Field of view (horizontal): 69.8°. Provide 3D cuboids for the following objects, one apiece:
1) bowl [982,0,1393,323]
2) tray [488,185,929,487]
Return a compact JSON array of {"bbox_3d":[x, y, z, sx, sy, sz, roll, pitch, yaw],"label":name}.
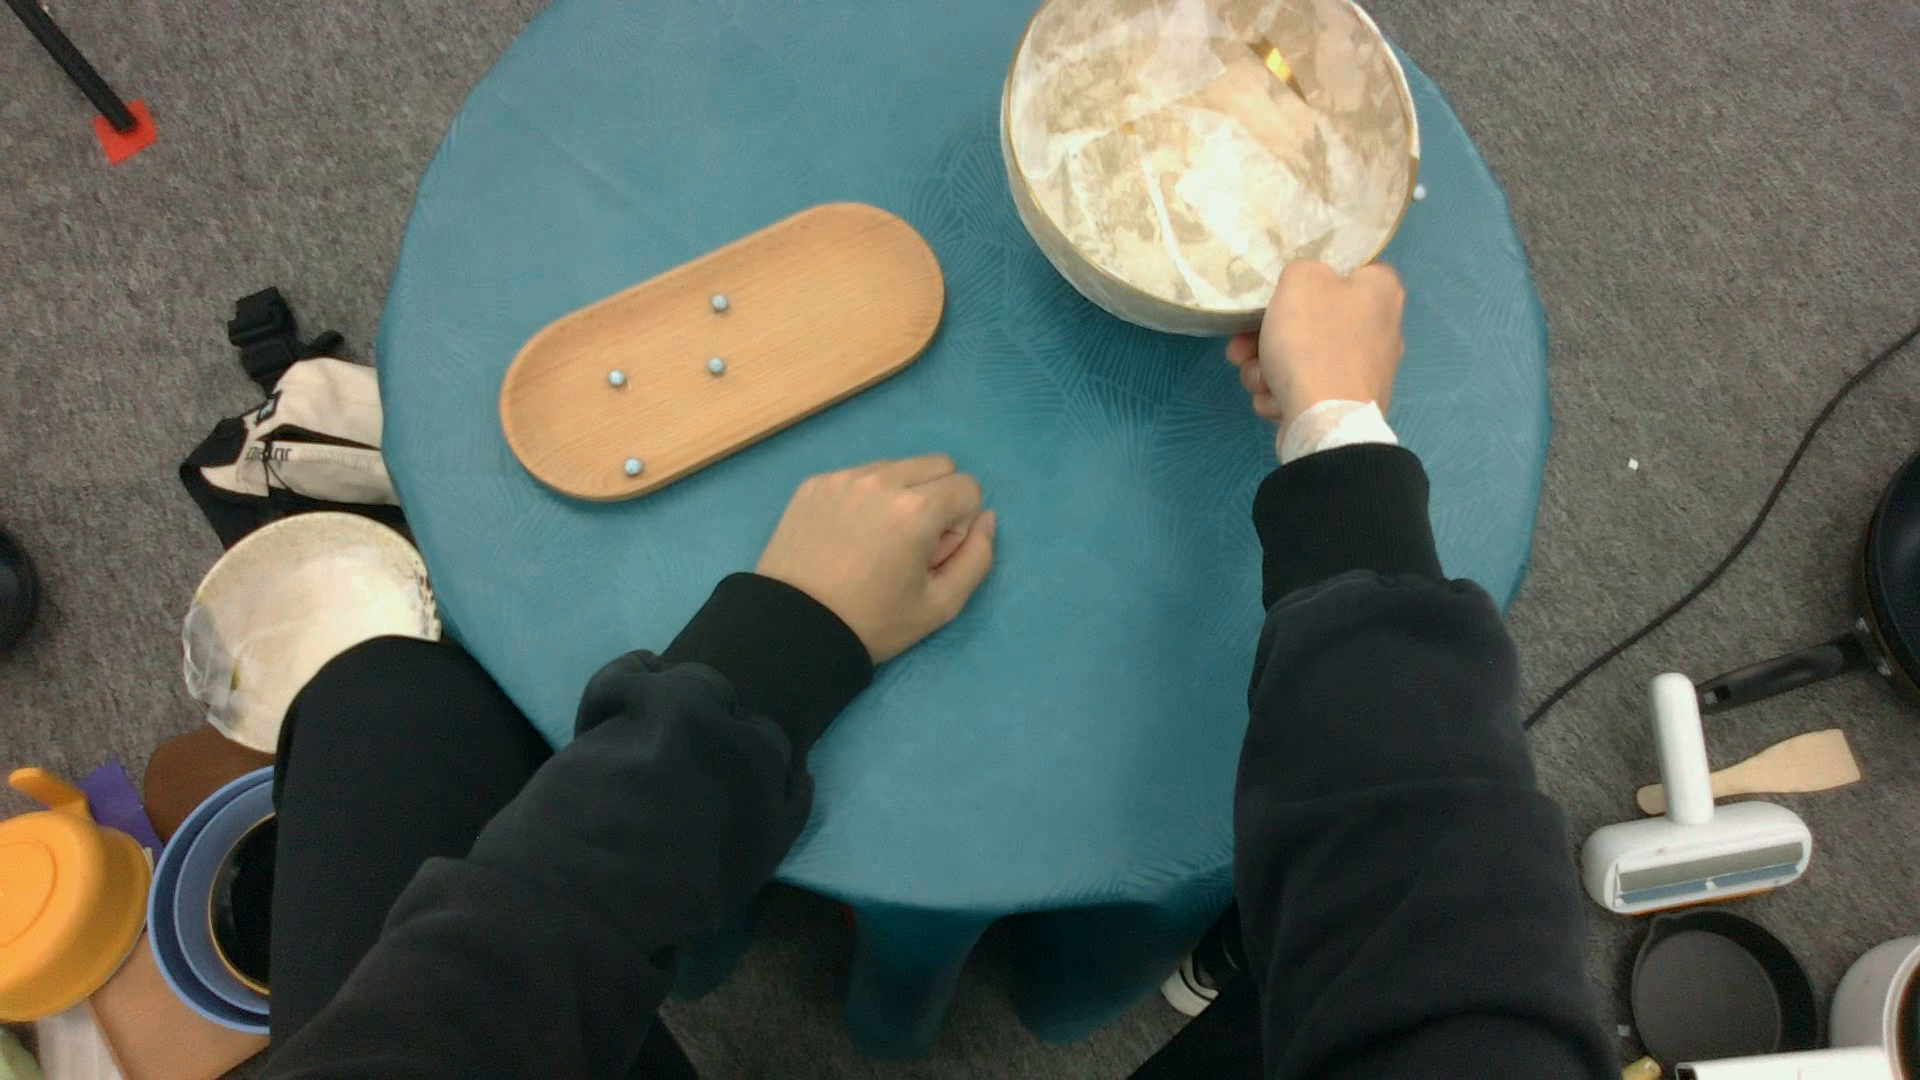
[{"bbox_3d":[0.102,-0.192,0.698,0.215,0.094,0.215,3,73,-8],"label":"bowl"},{"bbox_3d":[-0.122,-0.104,0.692,0.232,0.020,0.102,-29,77,-15],"label":"tray"}]
